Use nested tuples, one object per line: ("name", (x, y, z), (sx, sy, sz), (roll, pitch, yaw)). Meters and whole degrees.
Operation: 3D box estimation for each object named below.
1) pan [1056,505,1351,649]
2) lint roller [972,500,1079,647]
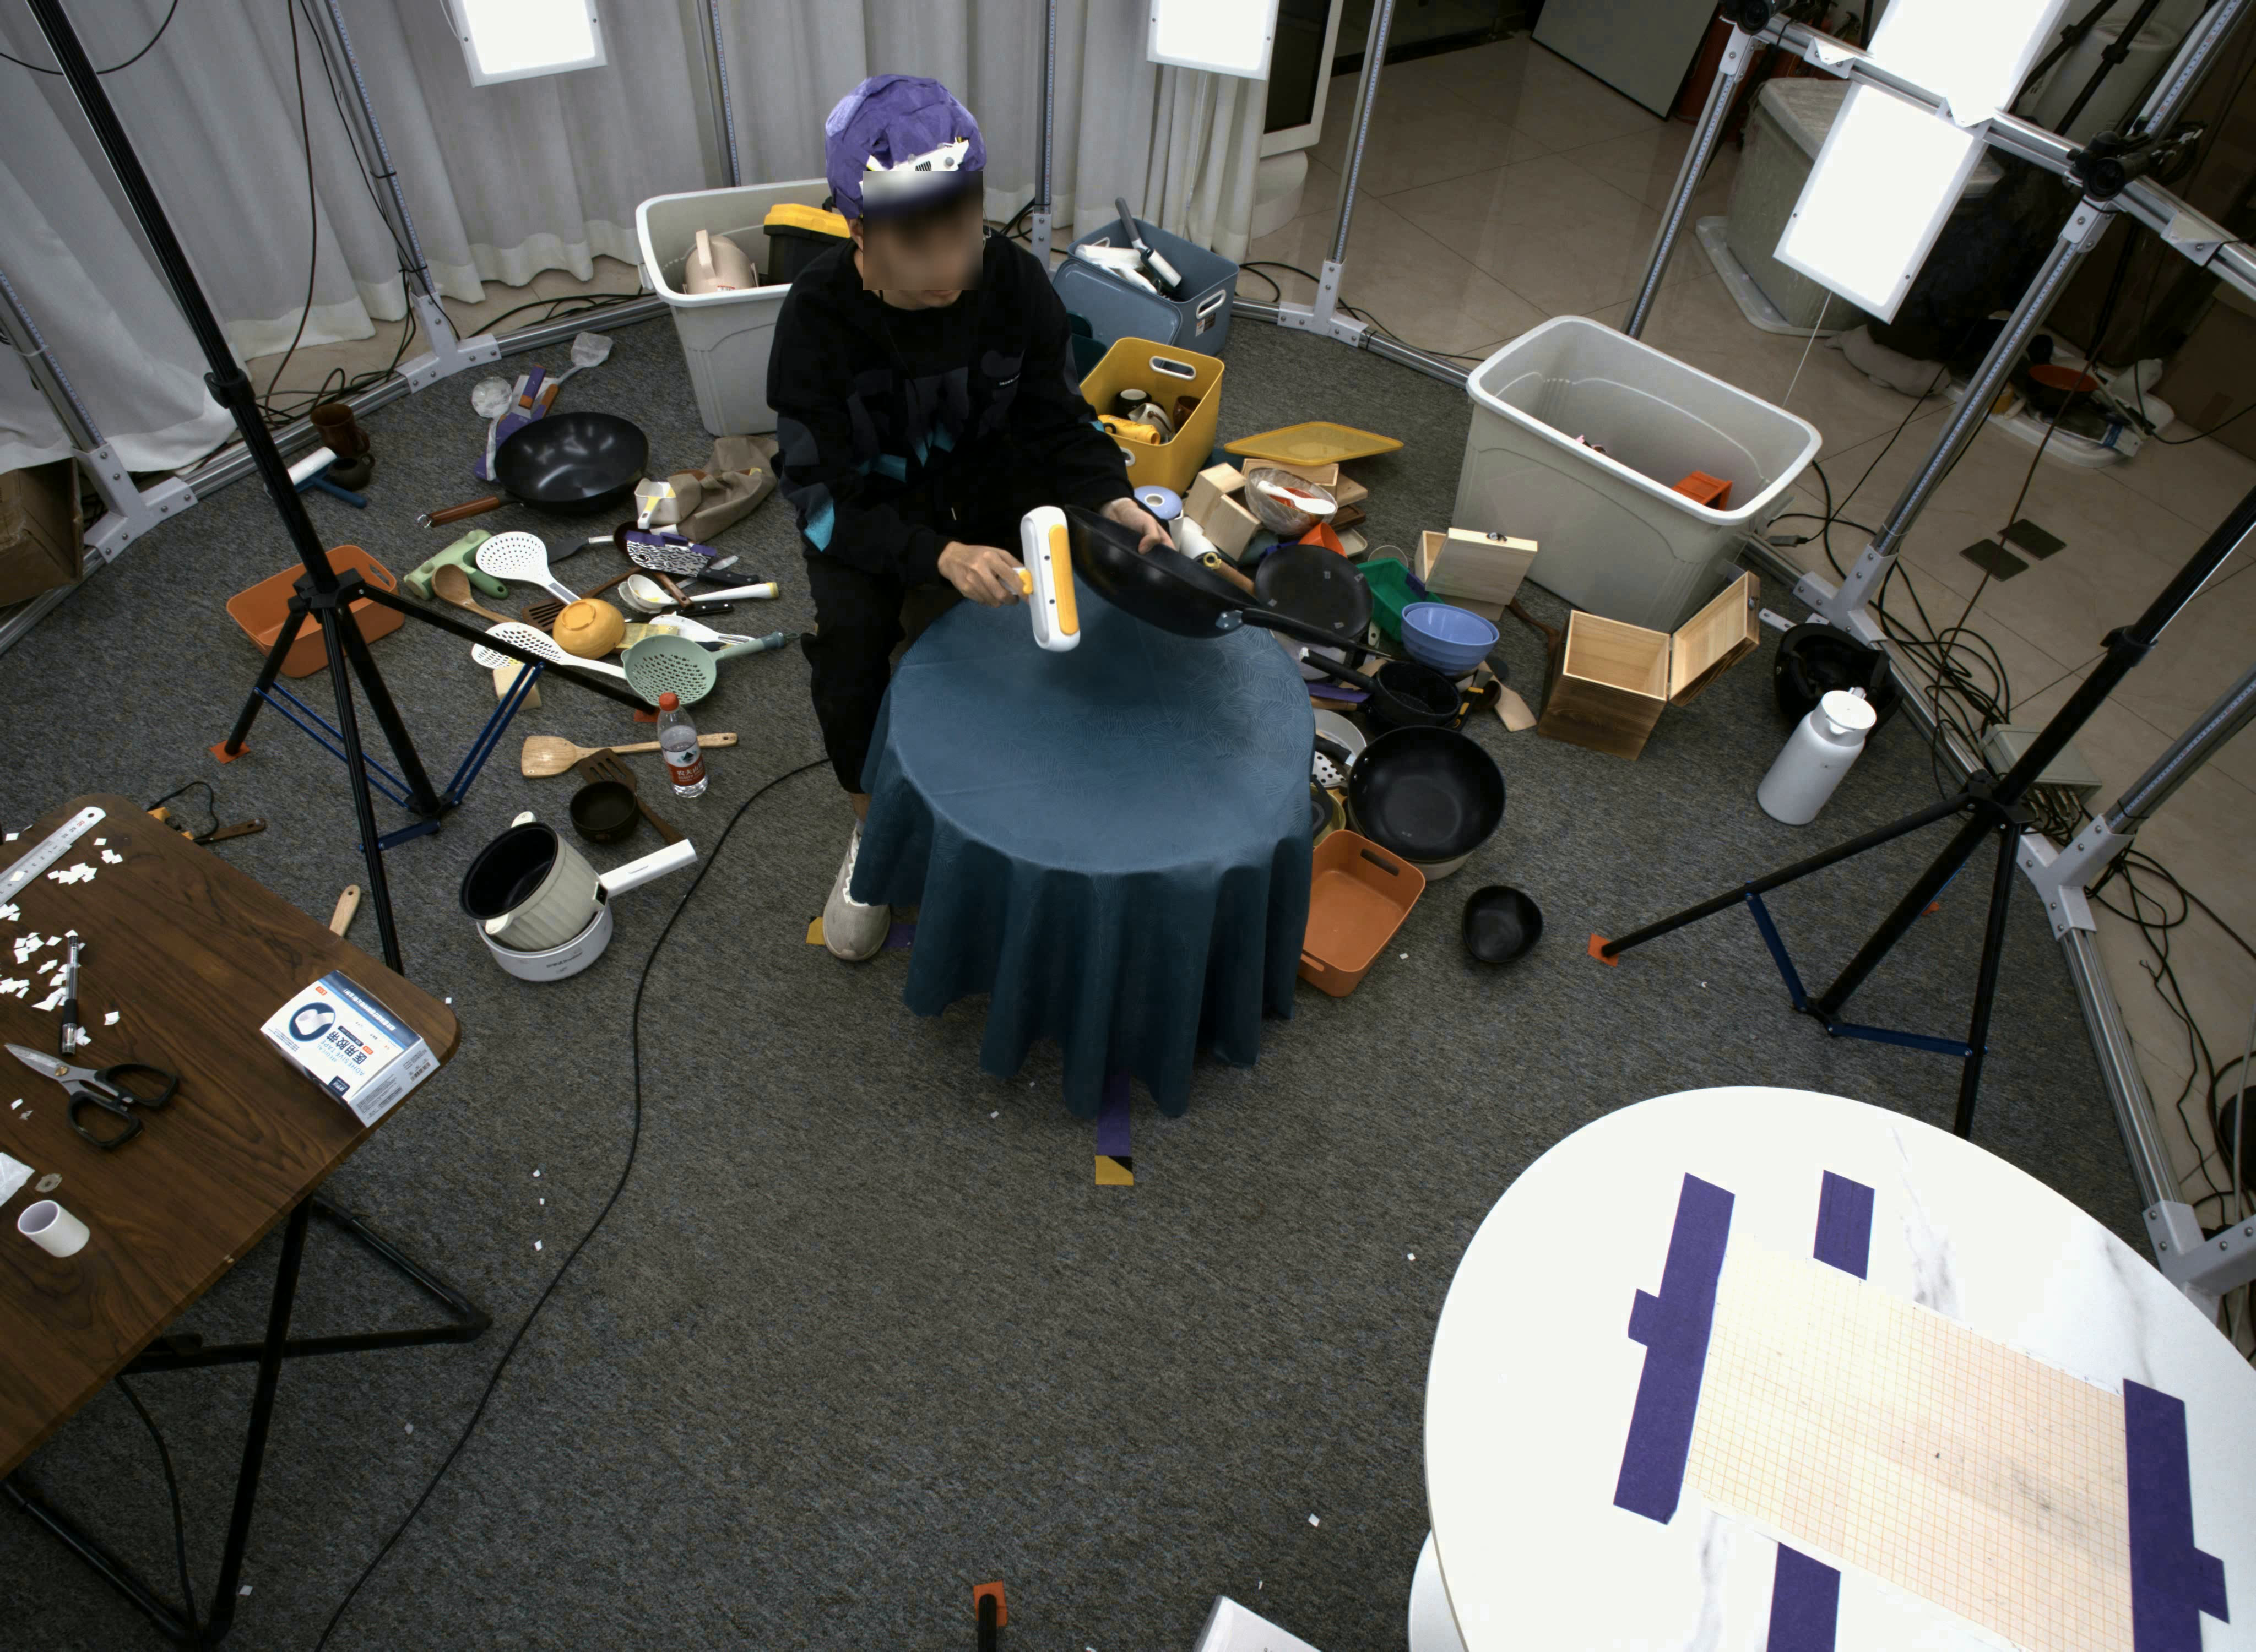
("pan", (0.089, -0.304, 1.729), (0.485, 0.110, 0.308), (36, 21, 32))
("lint roller", (-0.145, -0.338, 1.761), (0.074, 0.191, 0.194), (-21, 16, -31))
